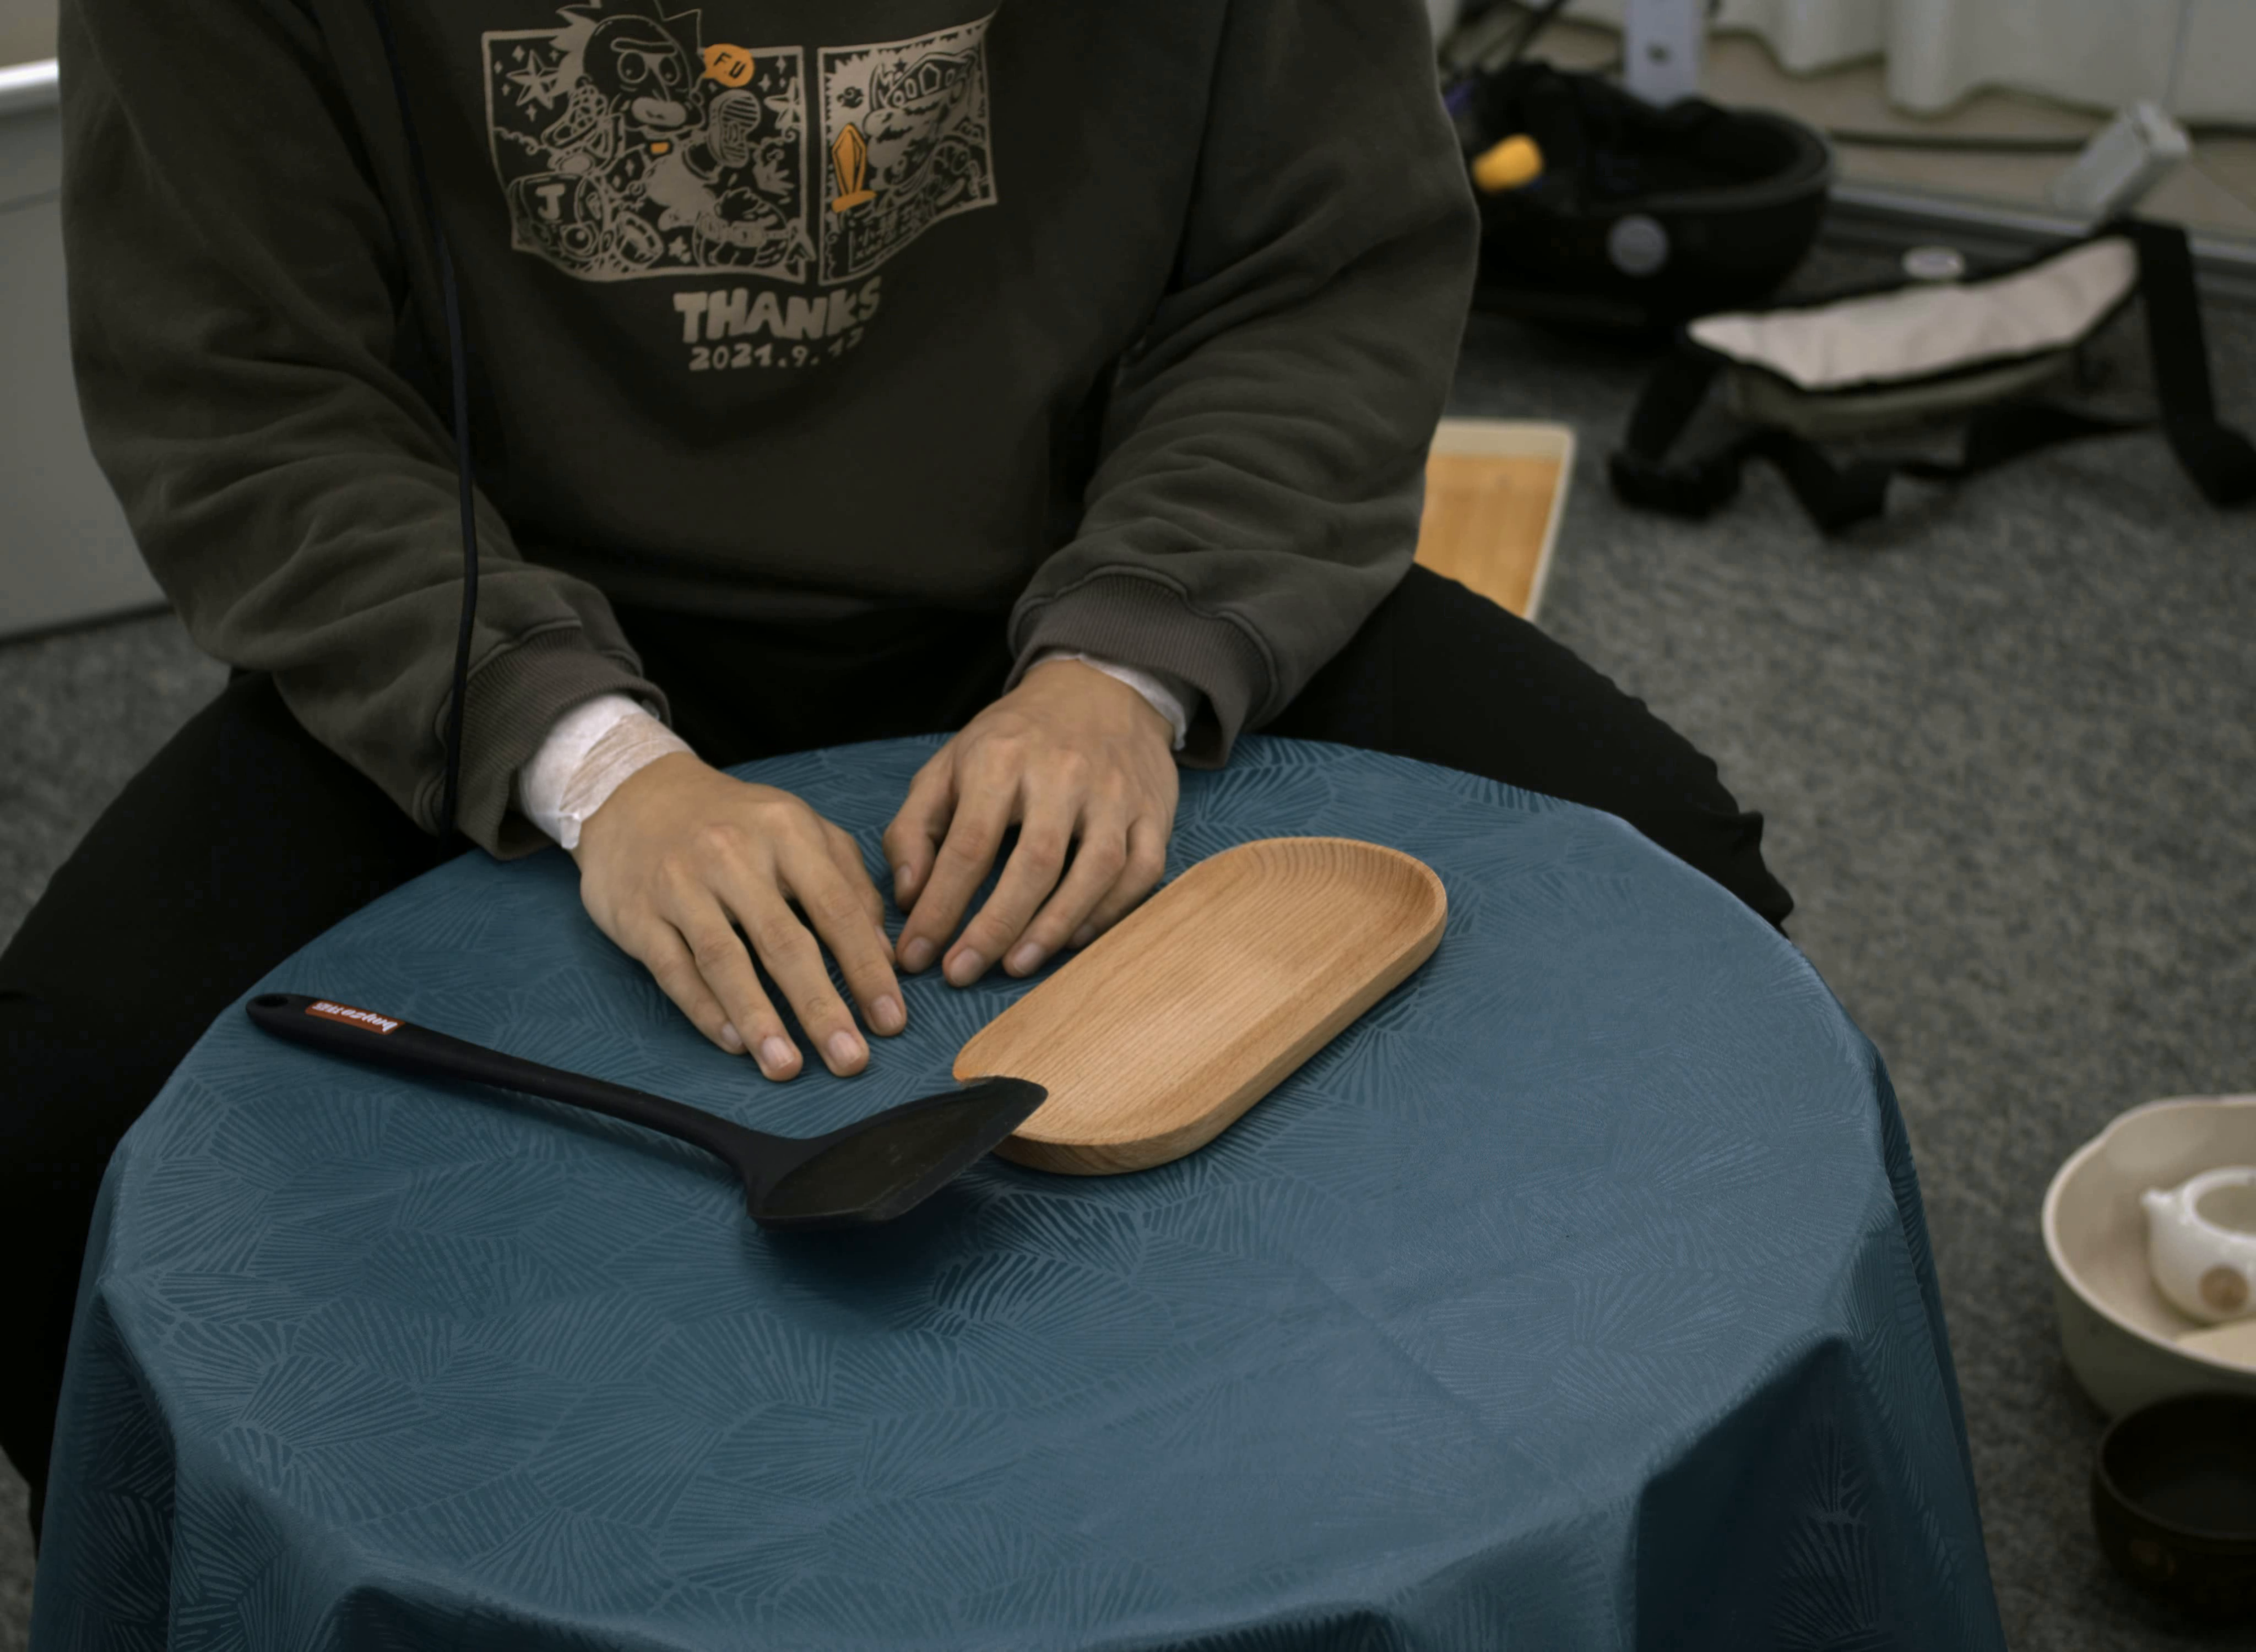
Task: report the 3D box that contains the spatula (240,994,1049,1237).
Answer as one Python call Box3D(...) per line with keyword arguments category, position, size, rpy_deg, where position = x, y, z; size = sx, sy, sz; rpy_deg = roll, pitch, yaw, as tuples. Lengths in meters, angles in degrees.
Box3D(category="spatula", position=(-0.179, 0.088, 1.904), size=(0.324, 0.040, 0.101), rpy_deg=(15, 31, 31))

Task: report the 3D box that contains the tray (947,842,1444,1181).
Box3D(category="tray", position=(0.026, 0.063, 1.953), size=(0.101, 0.020, 0.235), rpy_deg=(14, 33, 31))
